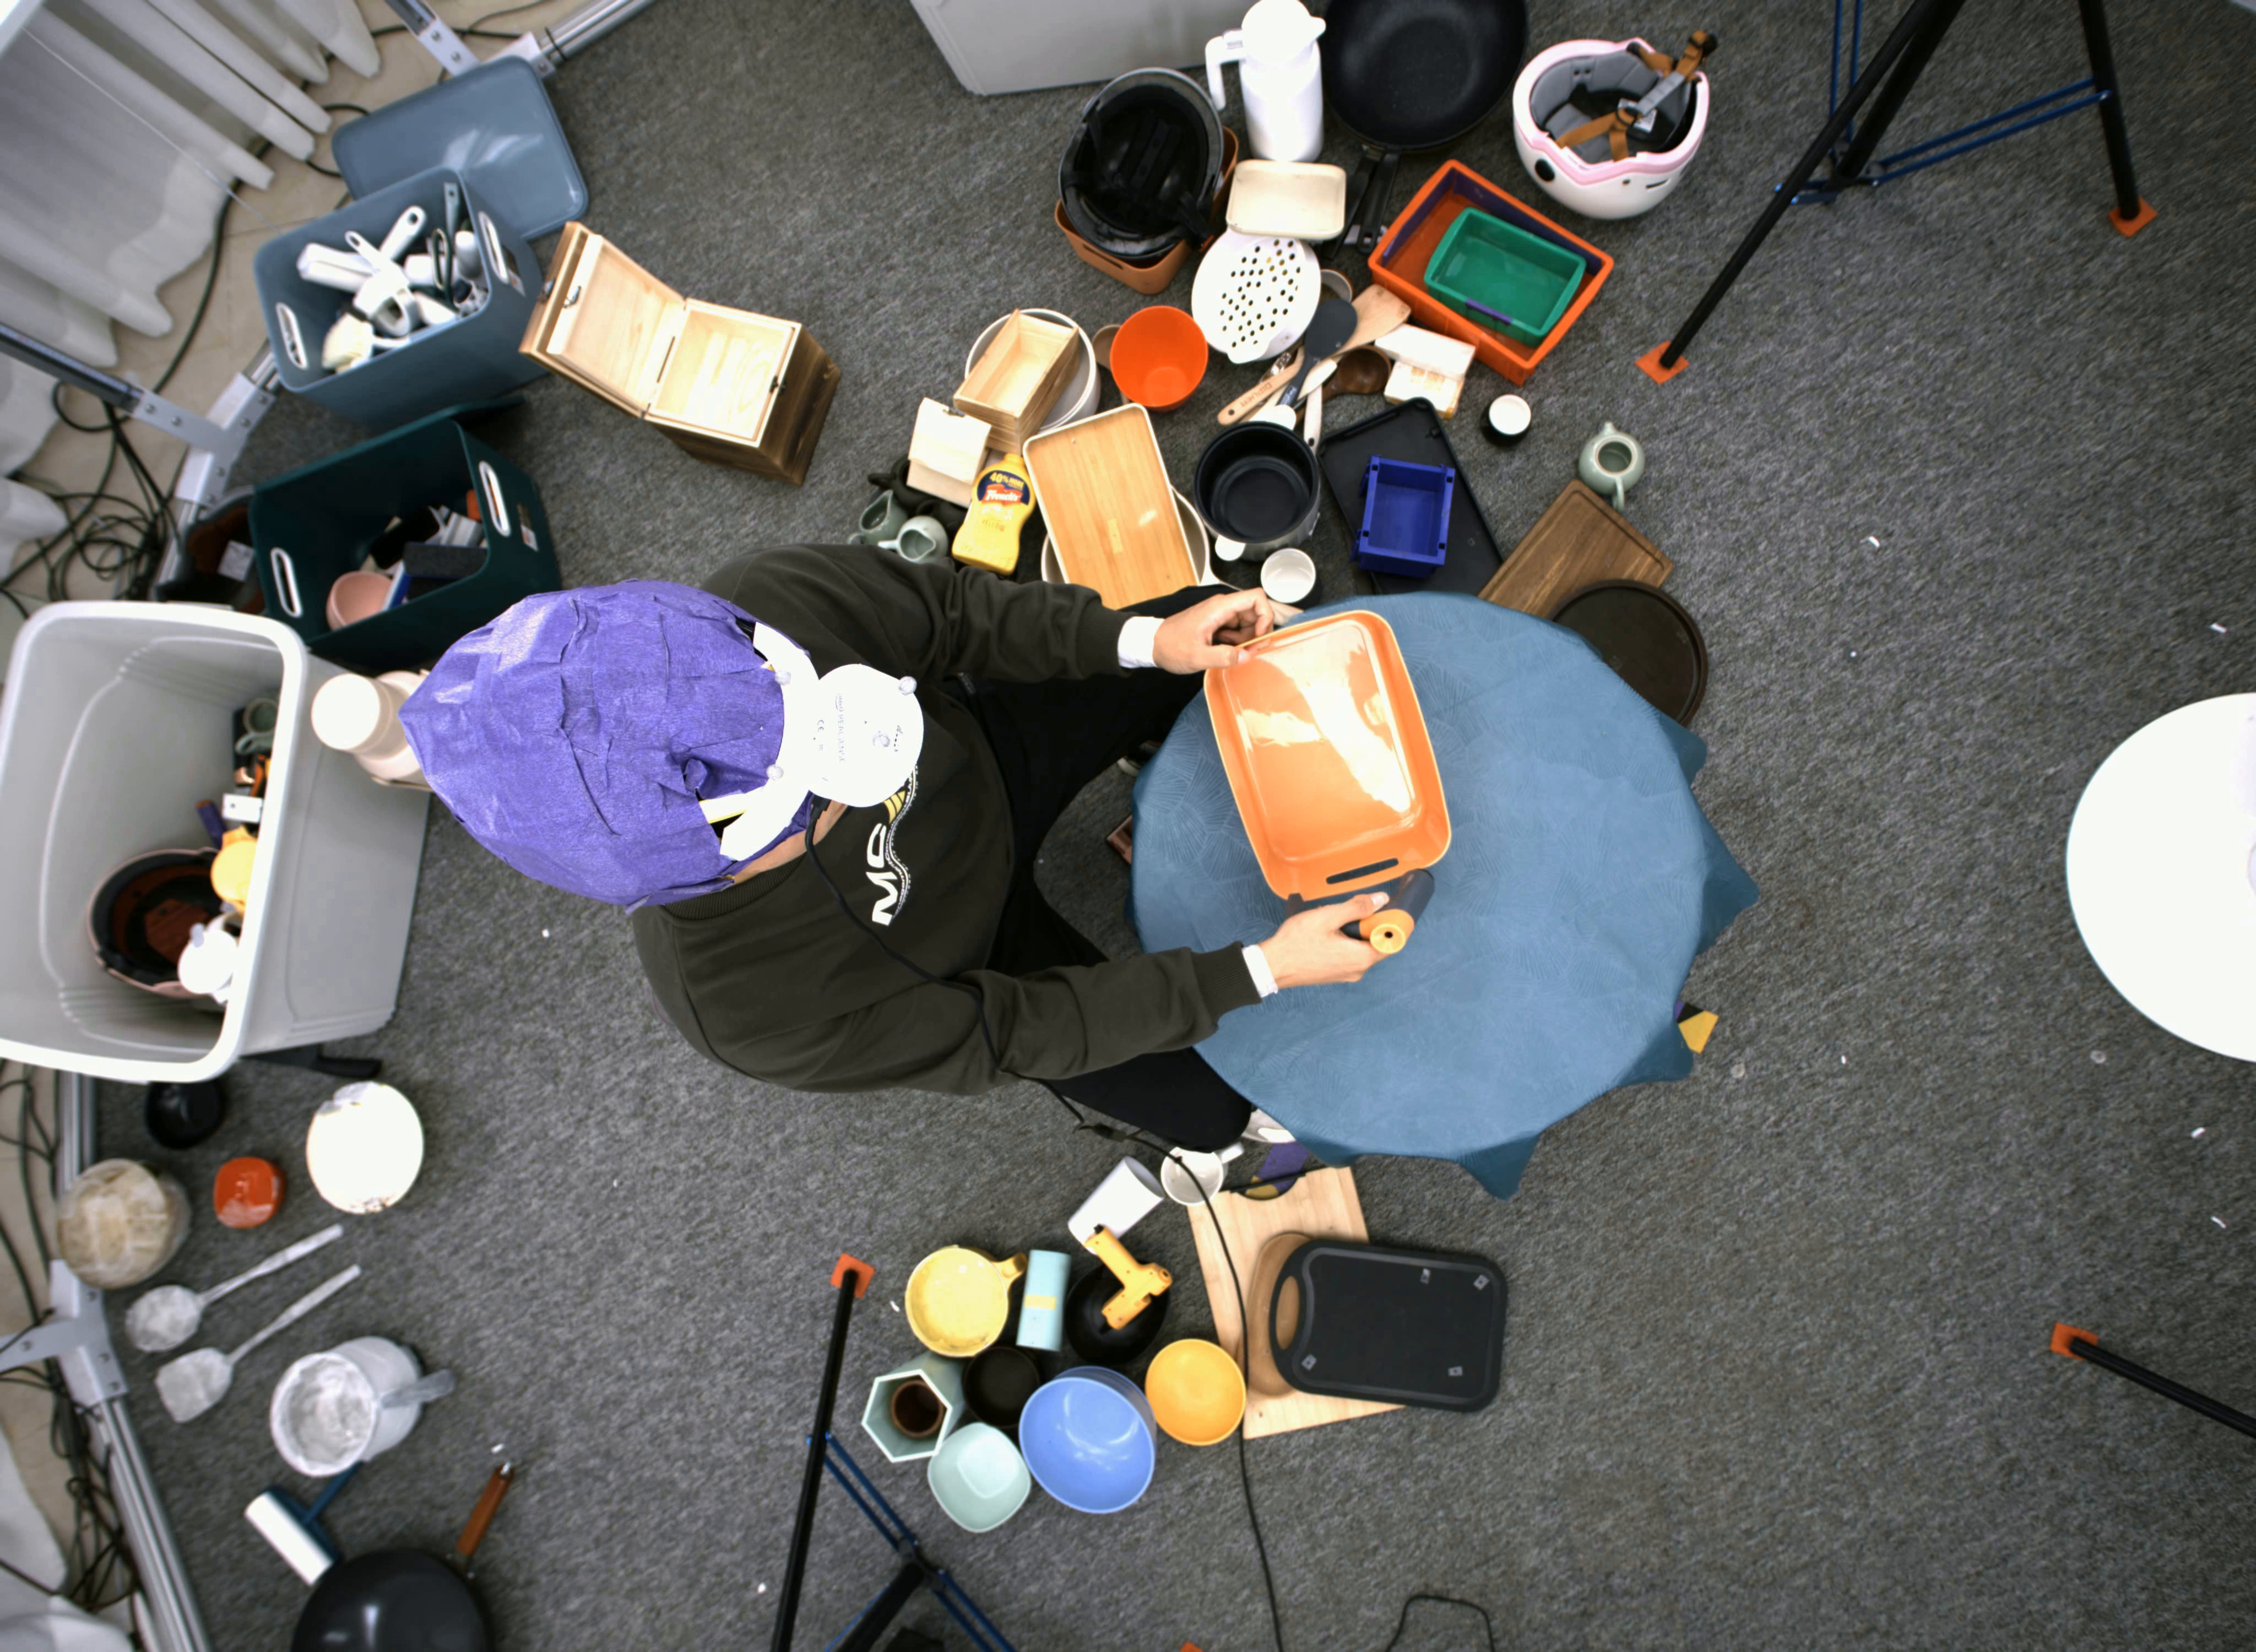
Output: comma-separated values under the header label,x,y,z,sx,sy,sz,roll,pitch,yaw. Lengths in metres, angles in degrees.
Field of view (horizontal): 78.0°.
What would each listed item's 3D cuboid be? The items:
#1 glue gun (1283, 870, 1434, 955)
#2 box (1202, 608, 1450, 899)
label,x,y,z,sx,sy,sz,roll,pitch,yaw
glue gun,0.225,0.081,1.334,0.141,0.115,0.041,-10,113,18
box,0.197,-0.079,1.392,0.200,0.101,0.276,-17,105,10
